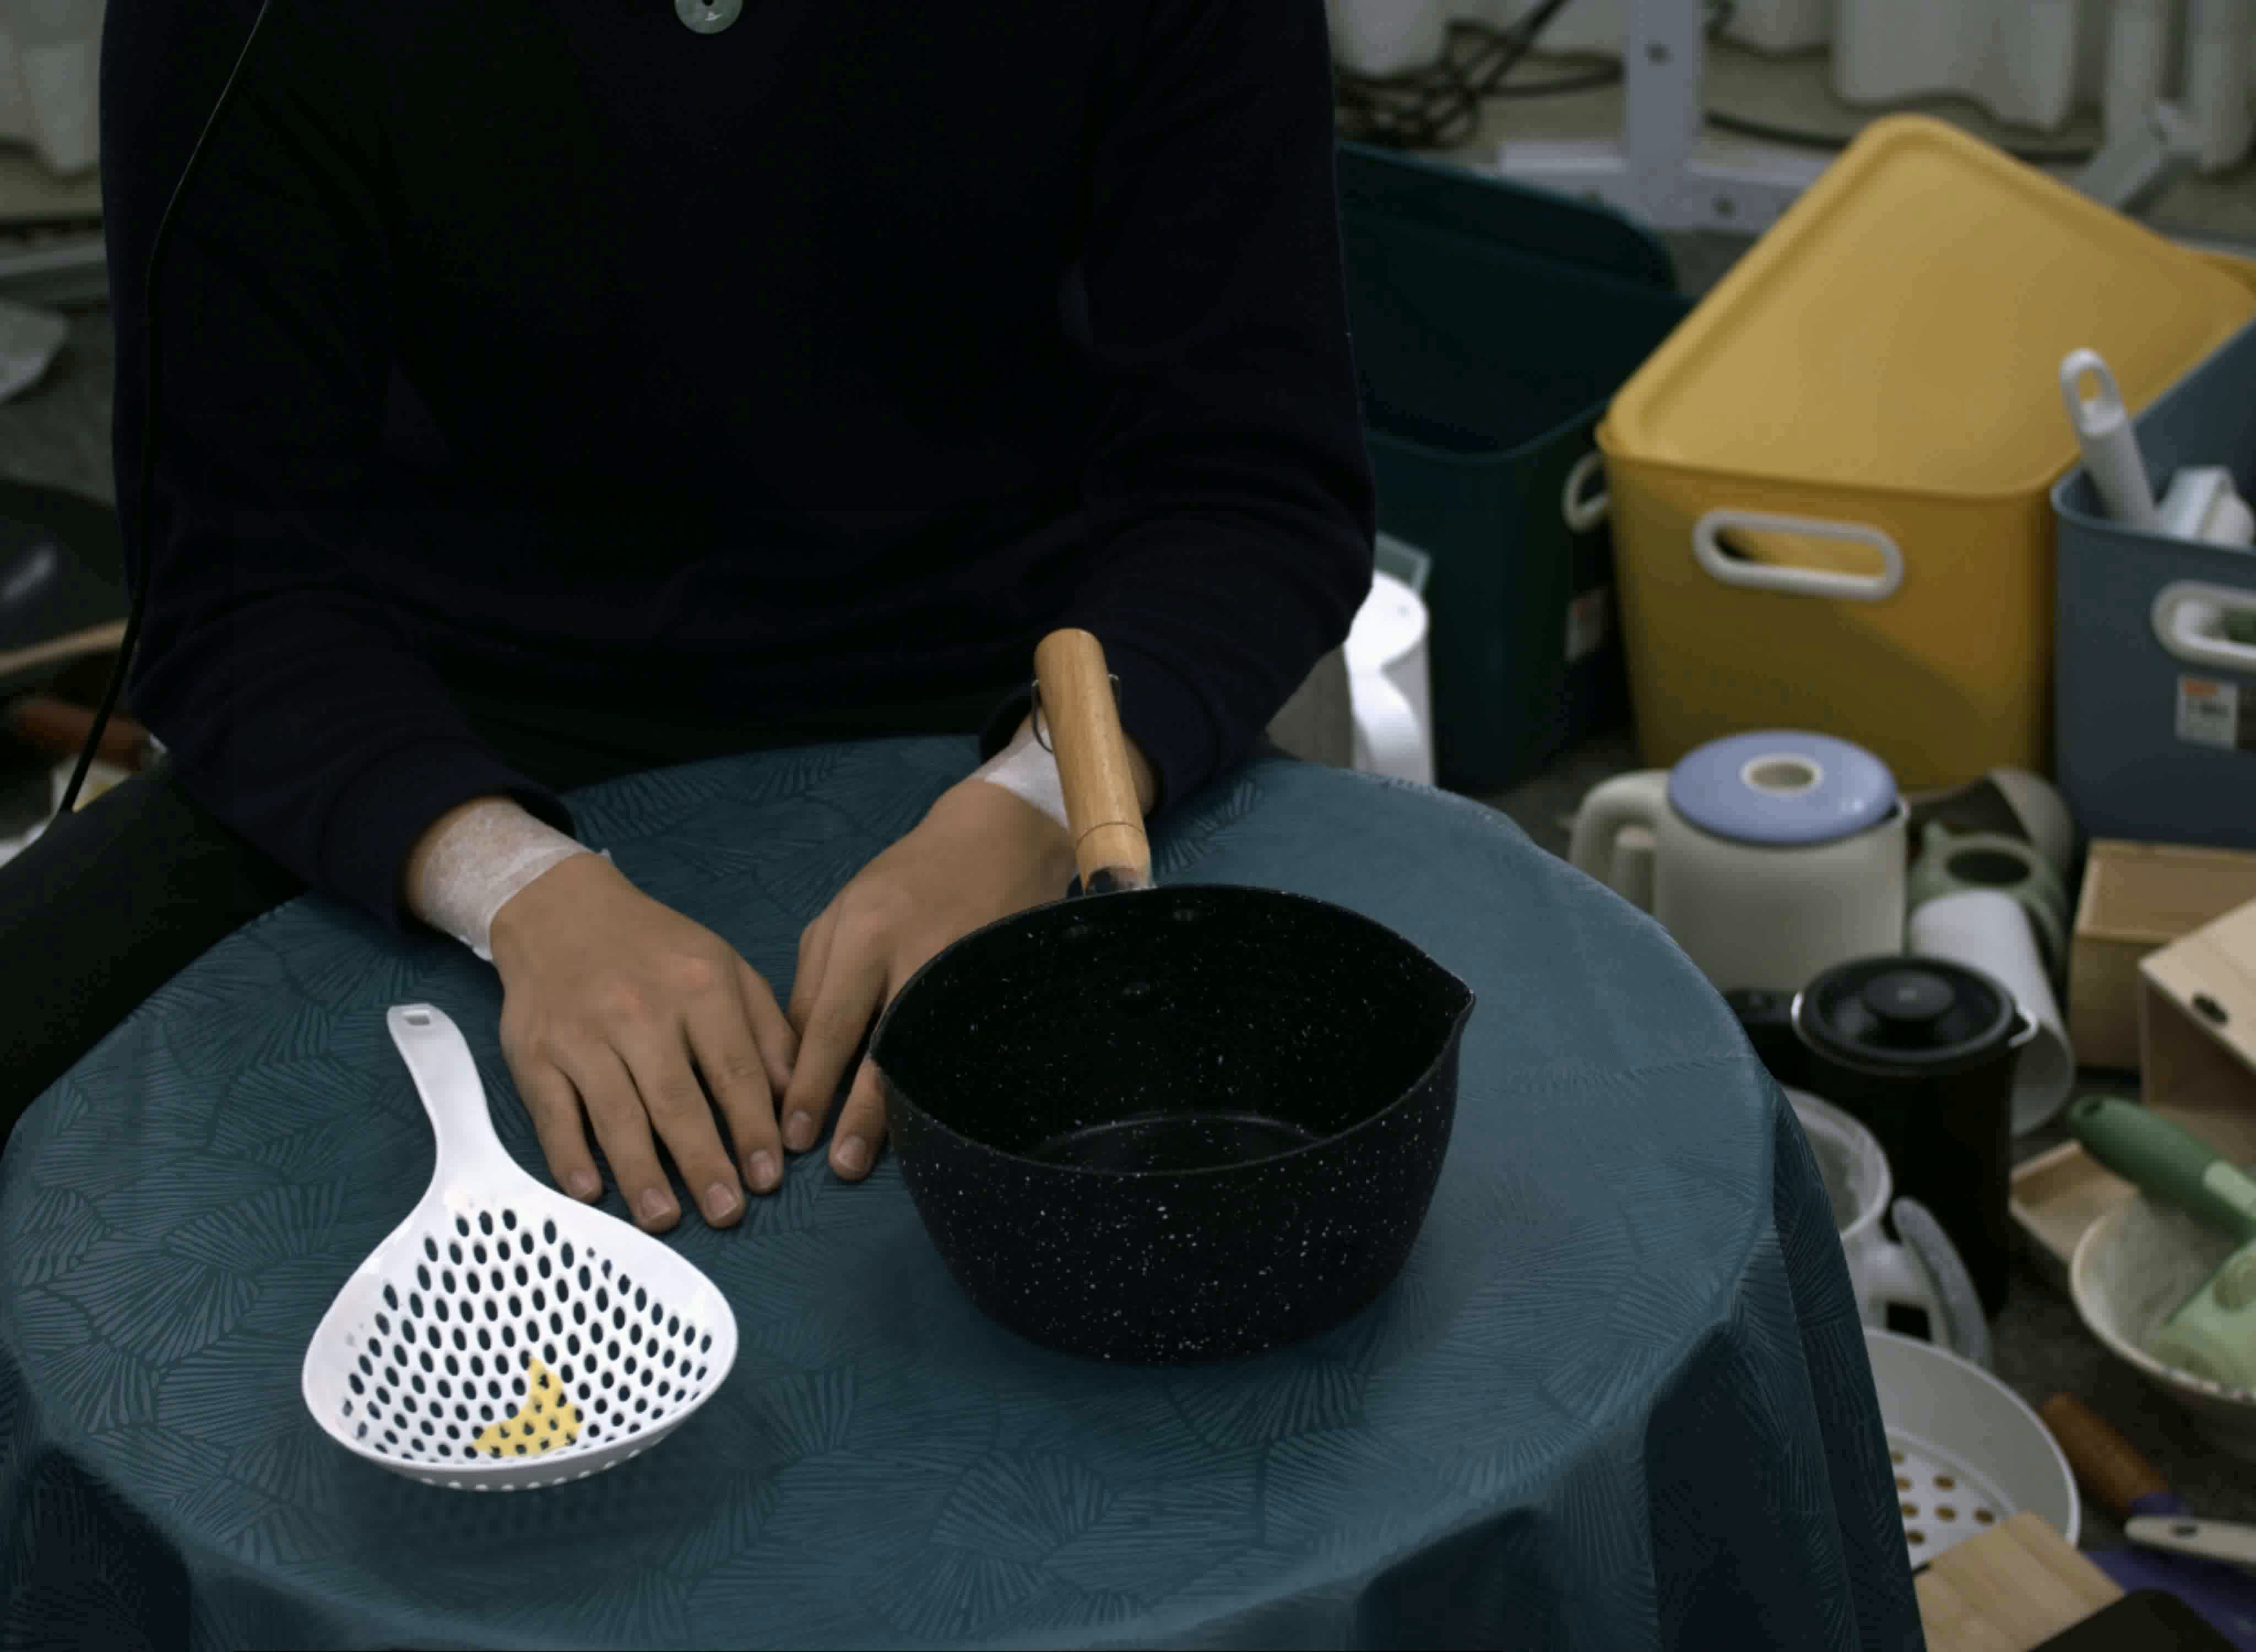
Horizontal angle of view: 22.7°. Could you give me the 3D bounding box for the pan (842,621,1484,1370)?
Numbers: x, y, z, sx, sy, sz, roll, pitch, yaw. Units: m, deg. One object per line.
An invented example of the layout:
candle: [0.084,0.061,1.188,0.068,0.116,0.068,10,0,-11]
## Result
pan: [0.002,0.053,1.879,0.207,0.107,0.347,-7,29,-6]

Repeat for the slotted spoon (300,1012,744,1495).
slotted spoon: [-0.214,0.127,1.827,0.137,0.050,0.352,-11,30,-11]
